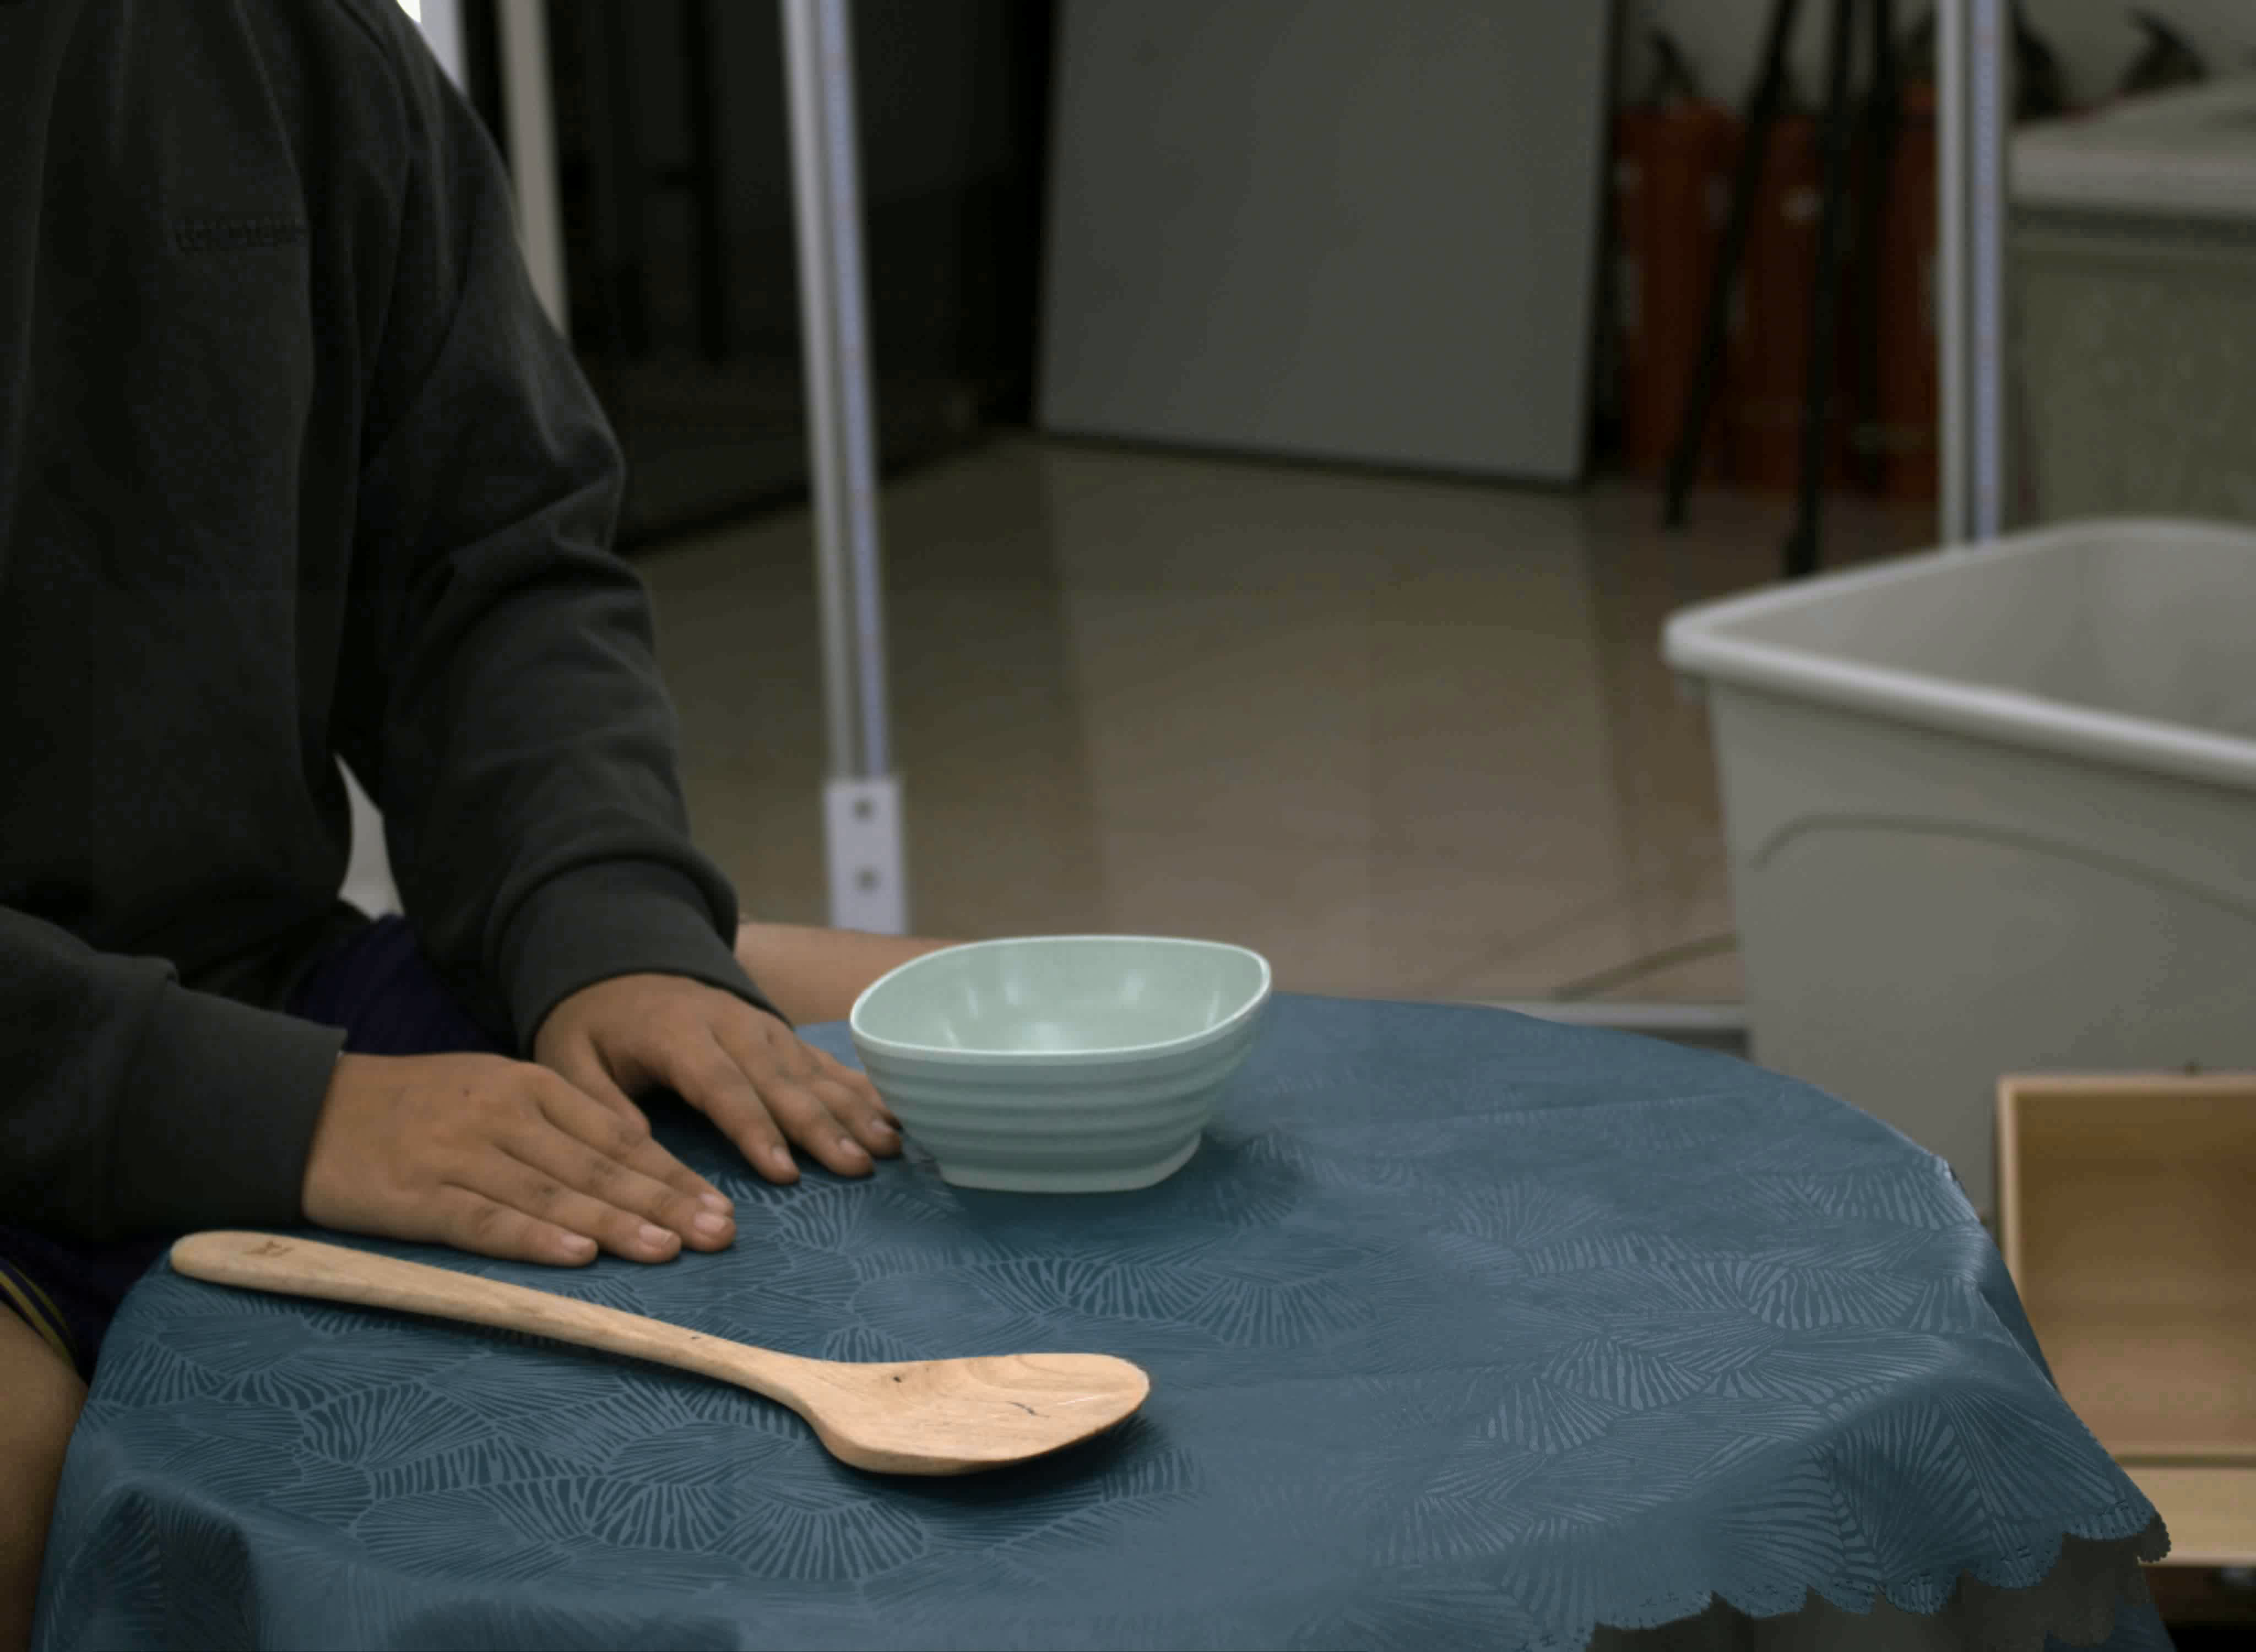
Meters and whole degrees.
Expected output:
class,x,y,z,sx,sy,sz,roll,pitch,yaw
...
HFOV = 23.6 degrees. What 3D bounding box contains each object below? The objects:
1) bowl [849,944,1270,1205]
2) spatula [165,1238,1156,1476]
class,x,y,z,sx,sy,sz,roll,pitch,yaw
bowl,-0.021,0.086,1.806,0.149,0.059,0.152,-2,14,0
spatula,-0.159,0.156,1.636,0.393,0.018,0.094,7,16,38
